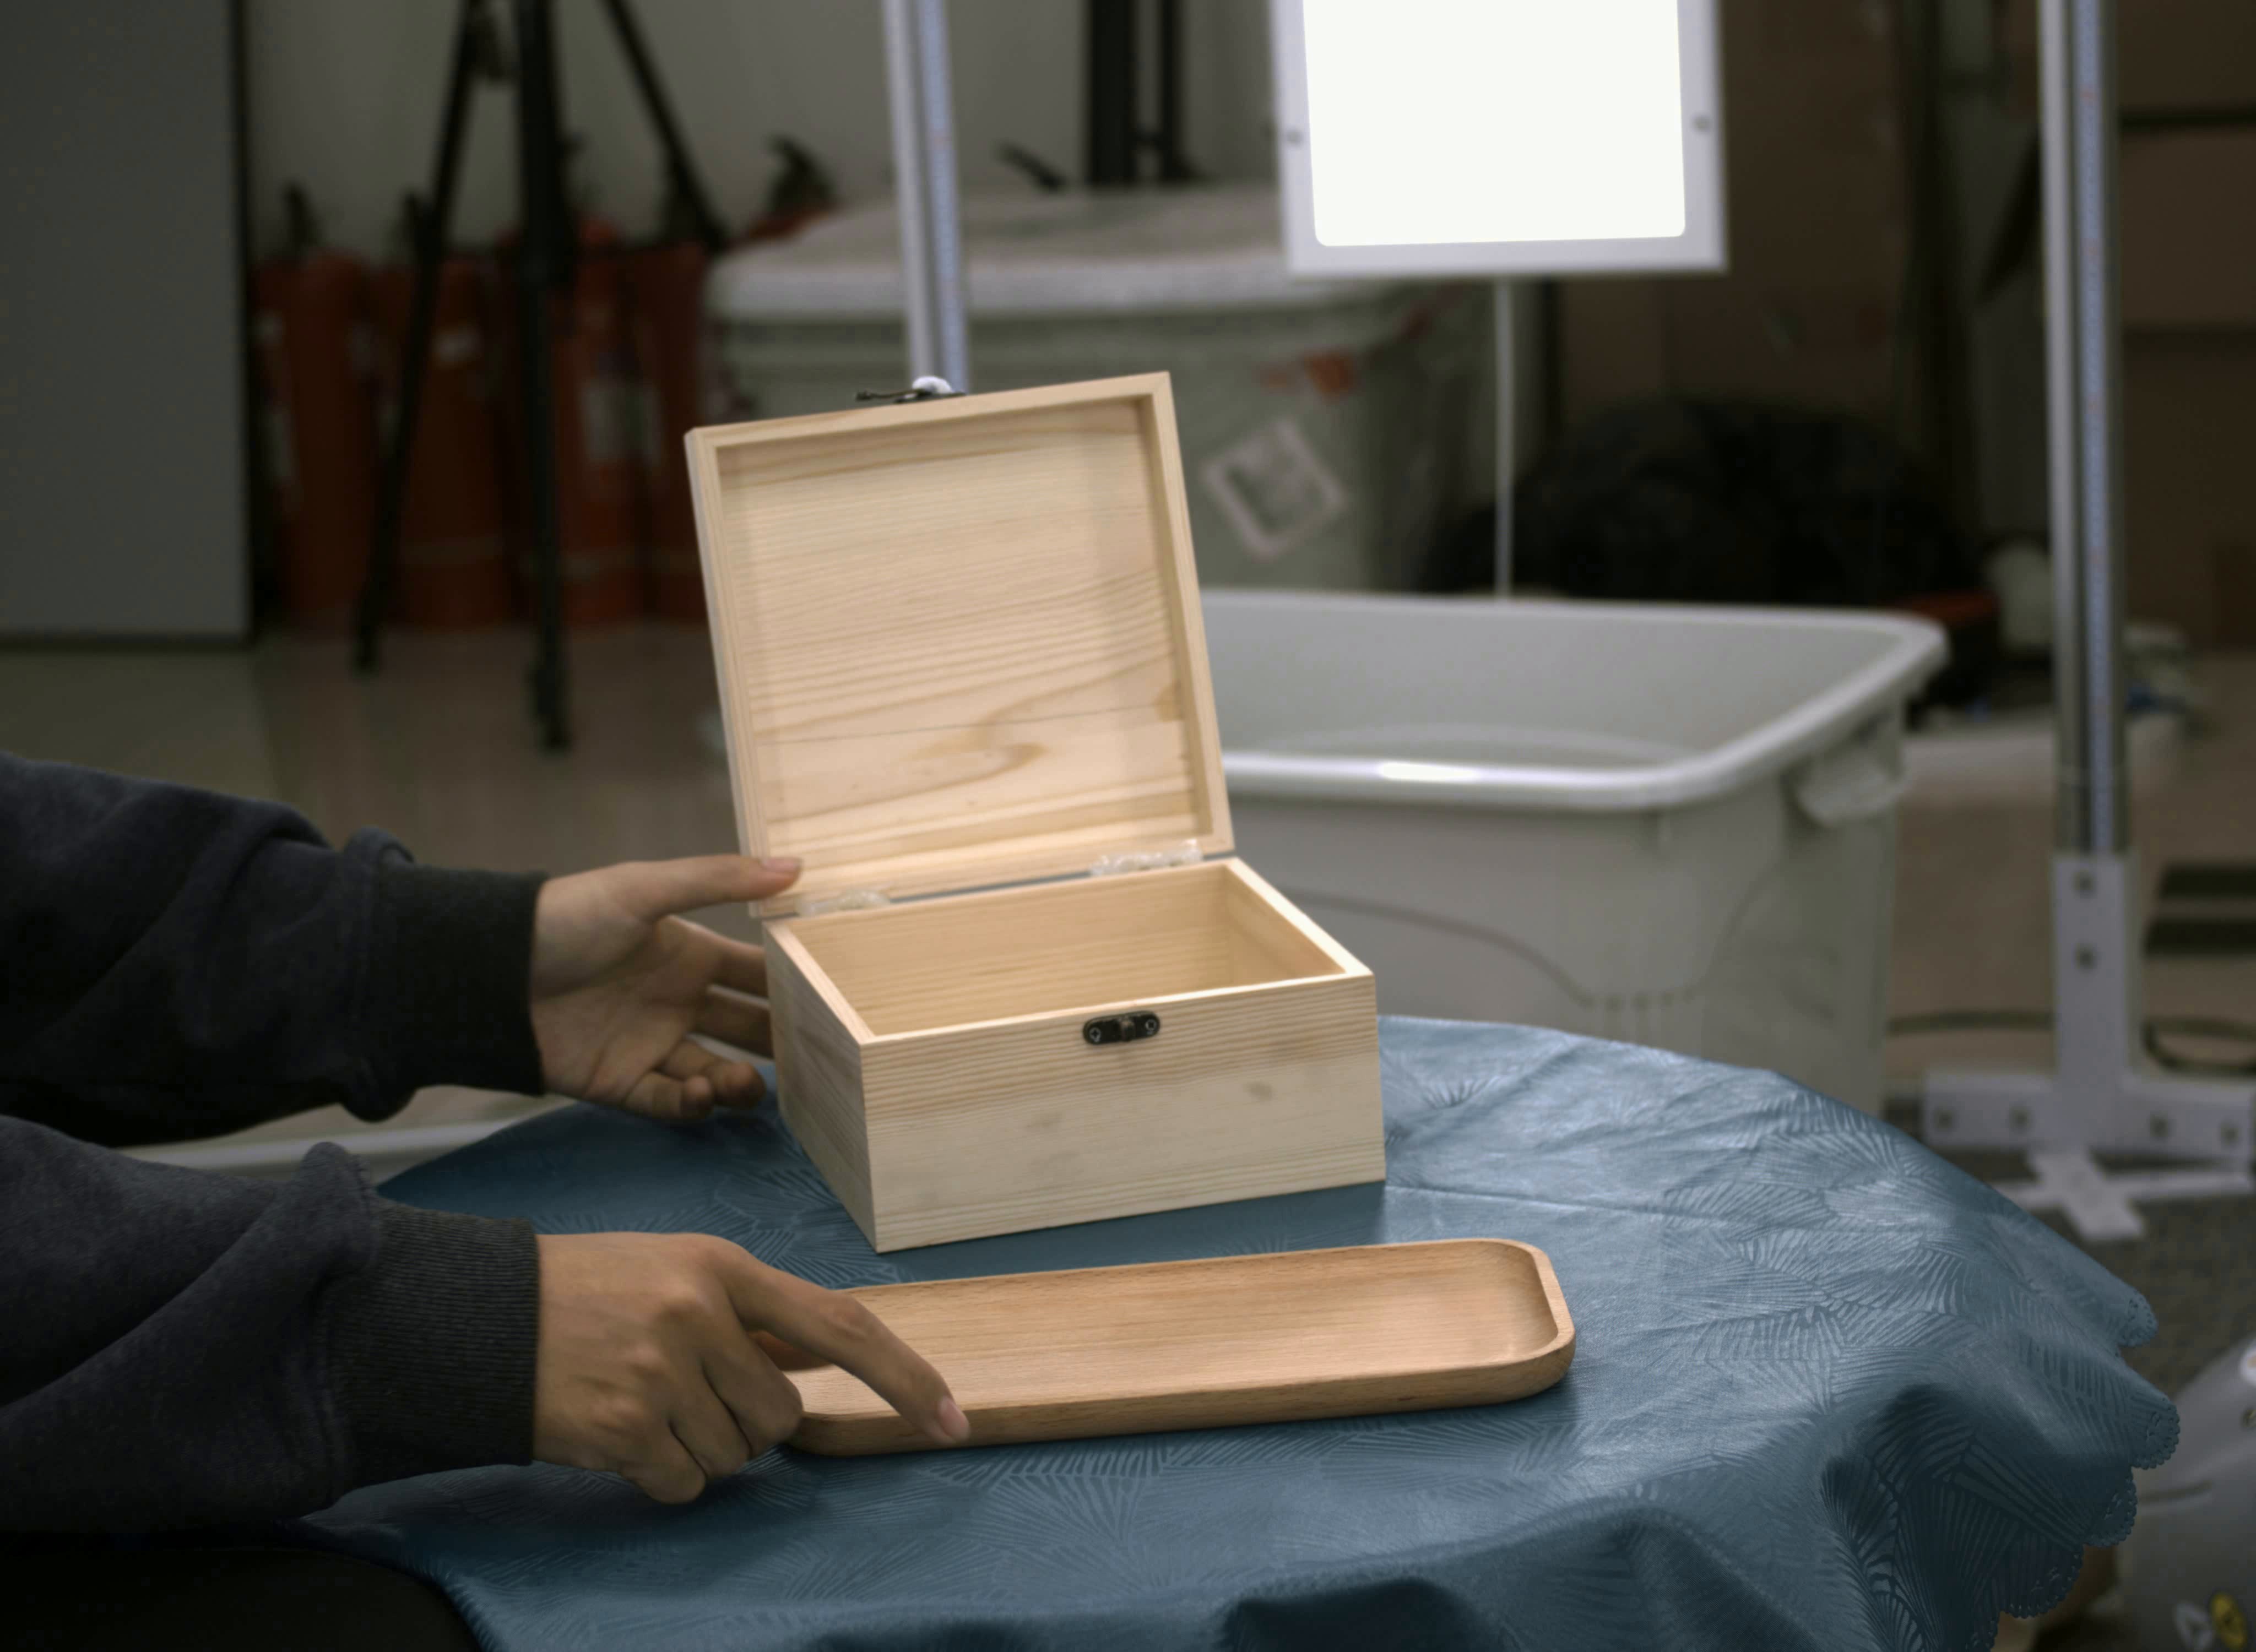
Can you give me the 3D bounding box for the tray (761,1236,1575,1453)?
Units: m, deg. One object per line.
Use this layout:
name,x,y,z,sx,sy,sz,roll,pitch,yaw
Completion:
tray,0.012,0.161,1.715,0.250,0.023,0.130,-5,11,2

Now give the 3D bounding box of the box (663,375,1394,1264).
box,-0.039,-0.011,1.959,0.179,0.254,0.267,-10,13,-12
